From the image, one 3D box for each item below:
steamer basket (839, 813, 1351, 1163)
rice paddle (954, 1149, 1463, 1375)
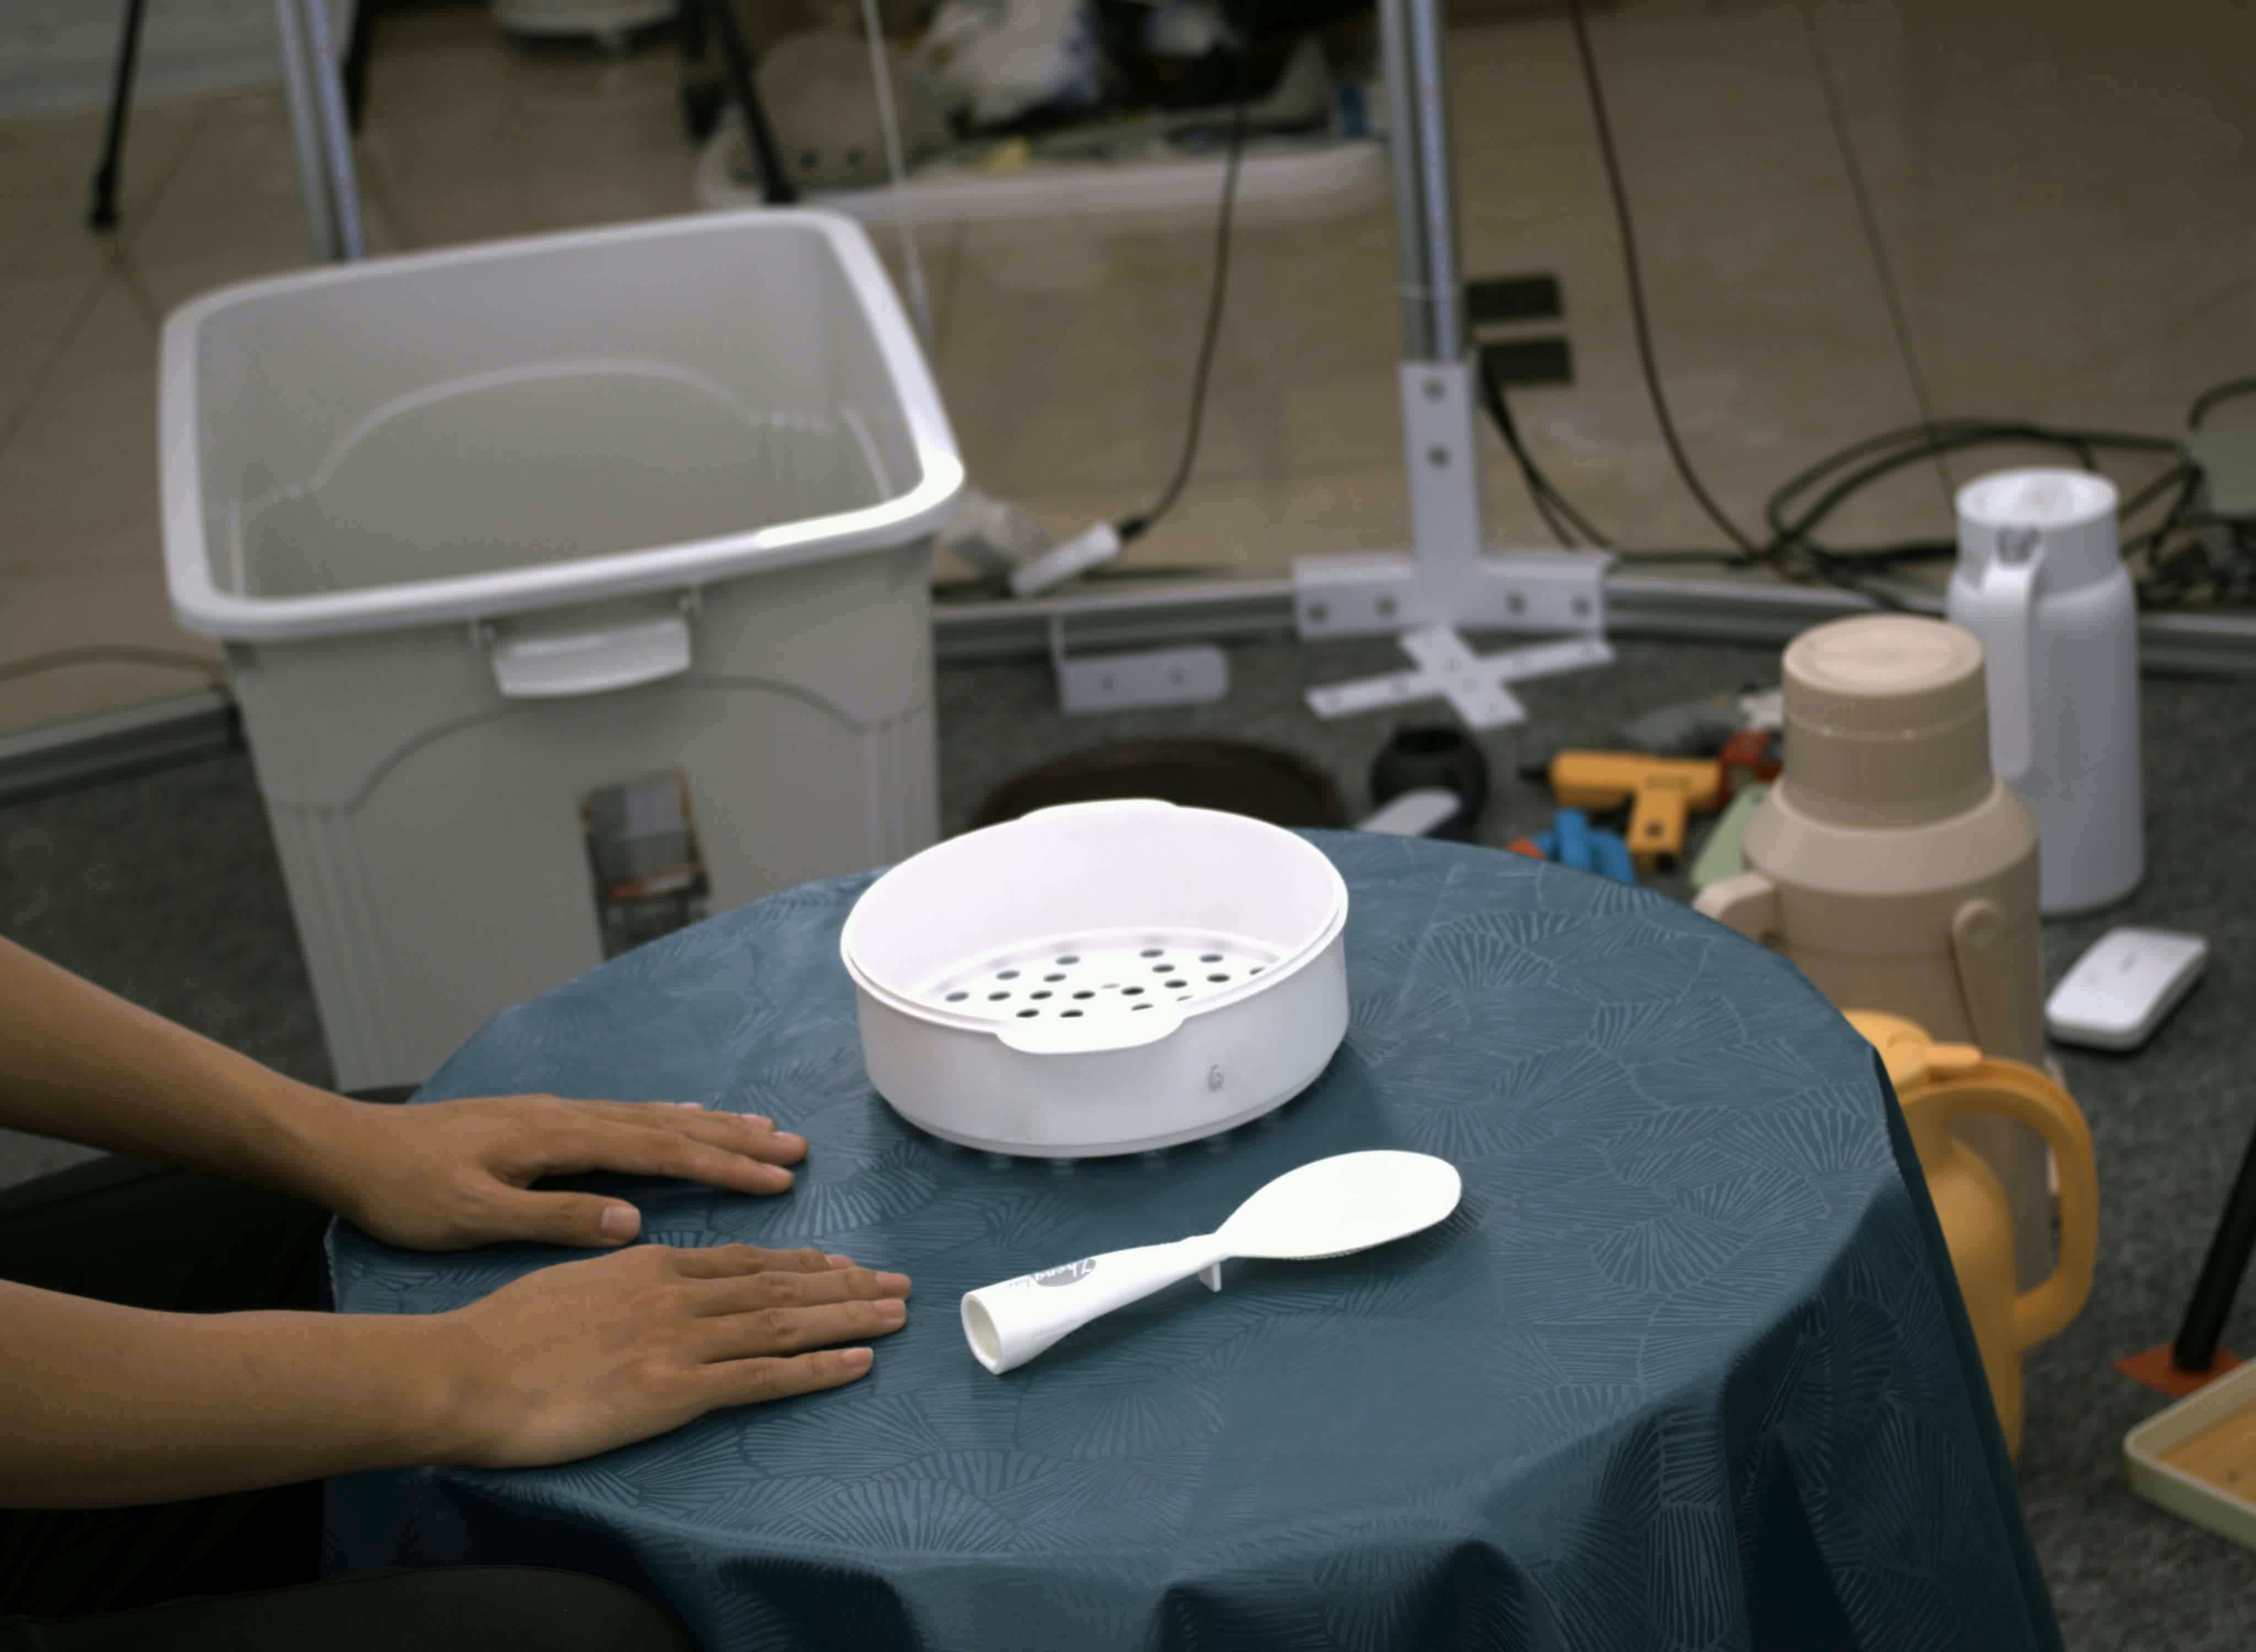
[{"bbox_3d":[-0.011,0.065,2.236,0.201,0.070,0.227,-4,23,3],"label":"steamer basket"},{"bbox_3d":[0.032,0.154,2.076,0.204,0.030,0.068,-18,29,-24],"label":"rice paddle"}]
